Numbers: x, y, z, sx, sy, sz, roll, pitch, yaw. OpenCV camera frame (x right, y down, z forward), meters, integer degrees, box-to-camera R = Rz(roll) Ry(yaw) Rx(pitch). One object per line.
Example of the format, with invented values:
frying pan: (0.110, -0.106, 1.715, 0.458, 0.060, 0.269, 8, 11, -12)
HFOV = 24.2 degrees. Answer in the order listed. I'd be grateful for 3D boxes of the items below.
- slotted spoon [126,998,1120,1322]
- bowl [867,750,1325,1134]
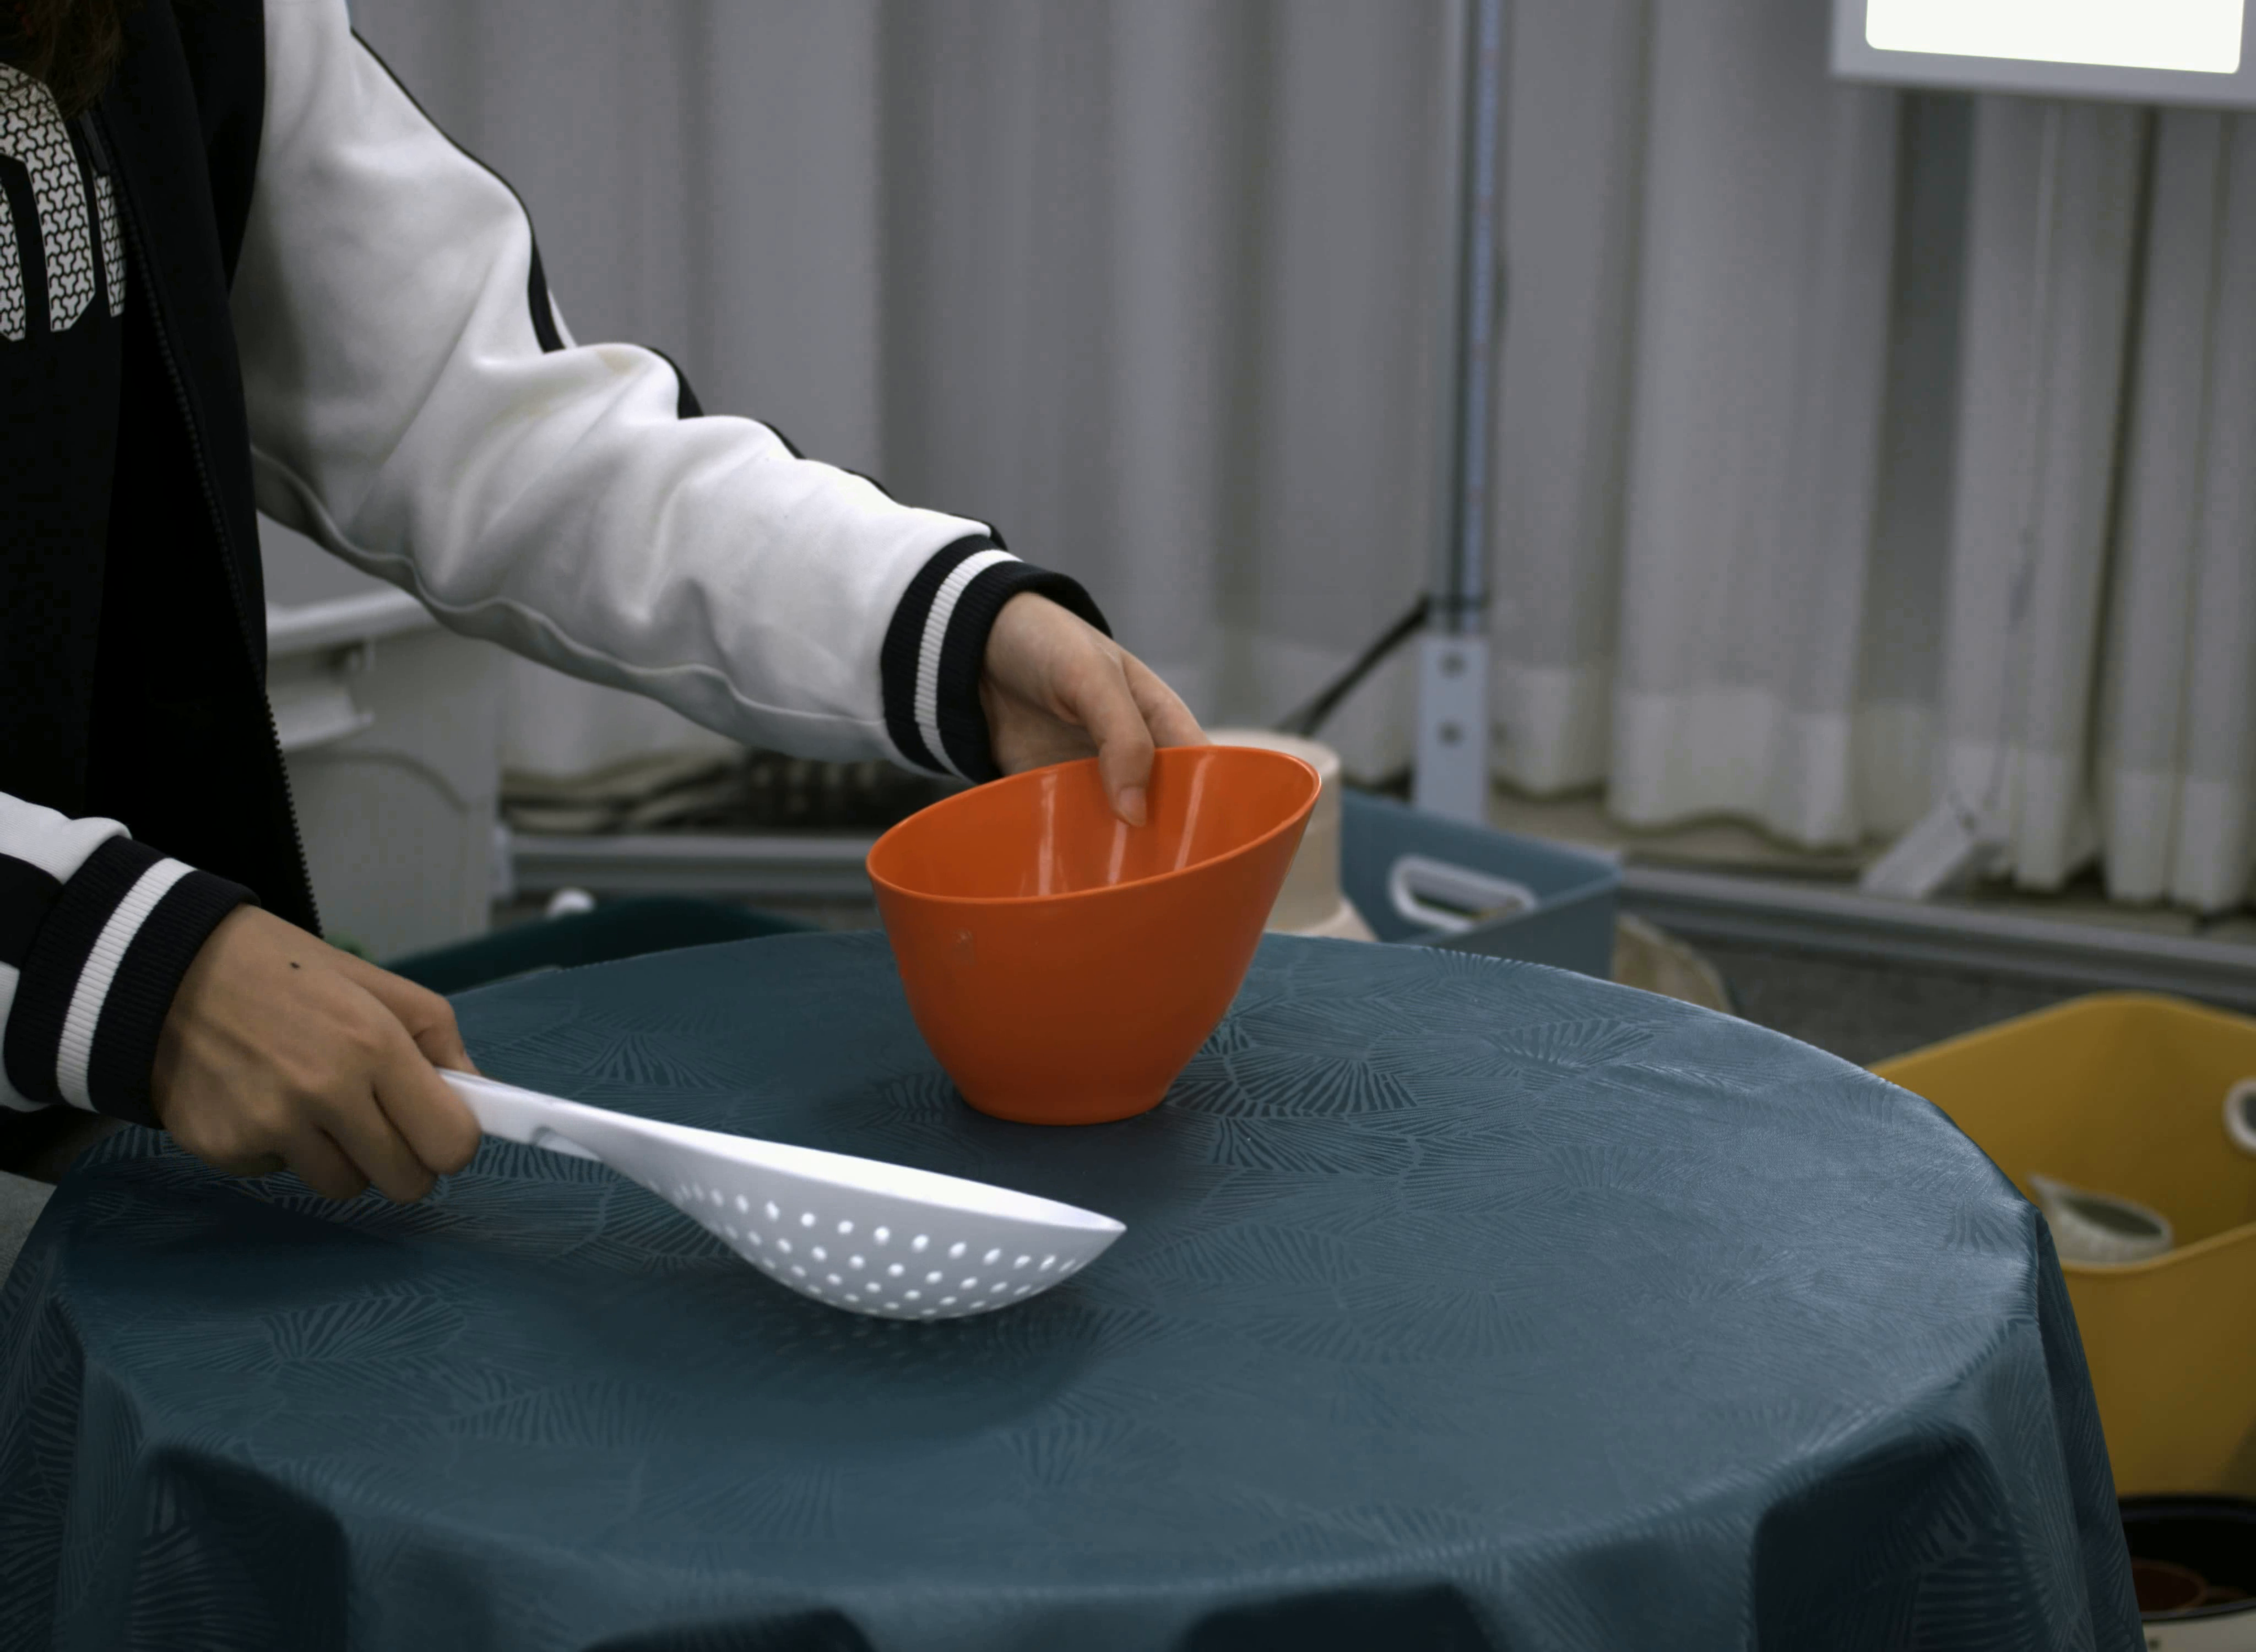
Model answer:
slotted spoon: (-0.161, 0.090, 1.555, 0.345, 0.046, 0.137, 17, 2, 30)
bowl: (-0.010, 0.039, 1.698, 0.147, 0.105, 0.147, -1, 17, 1)
